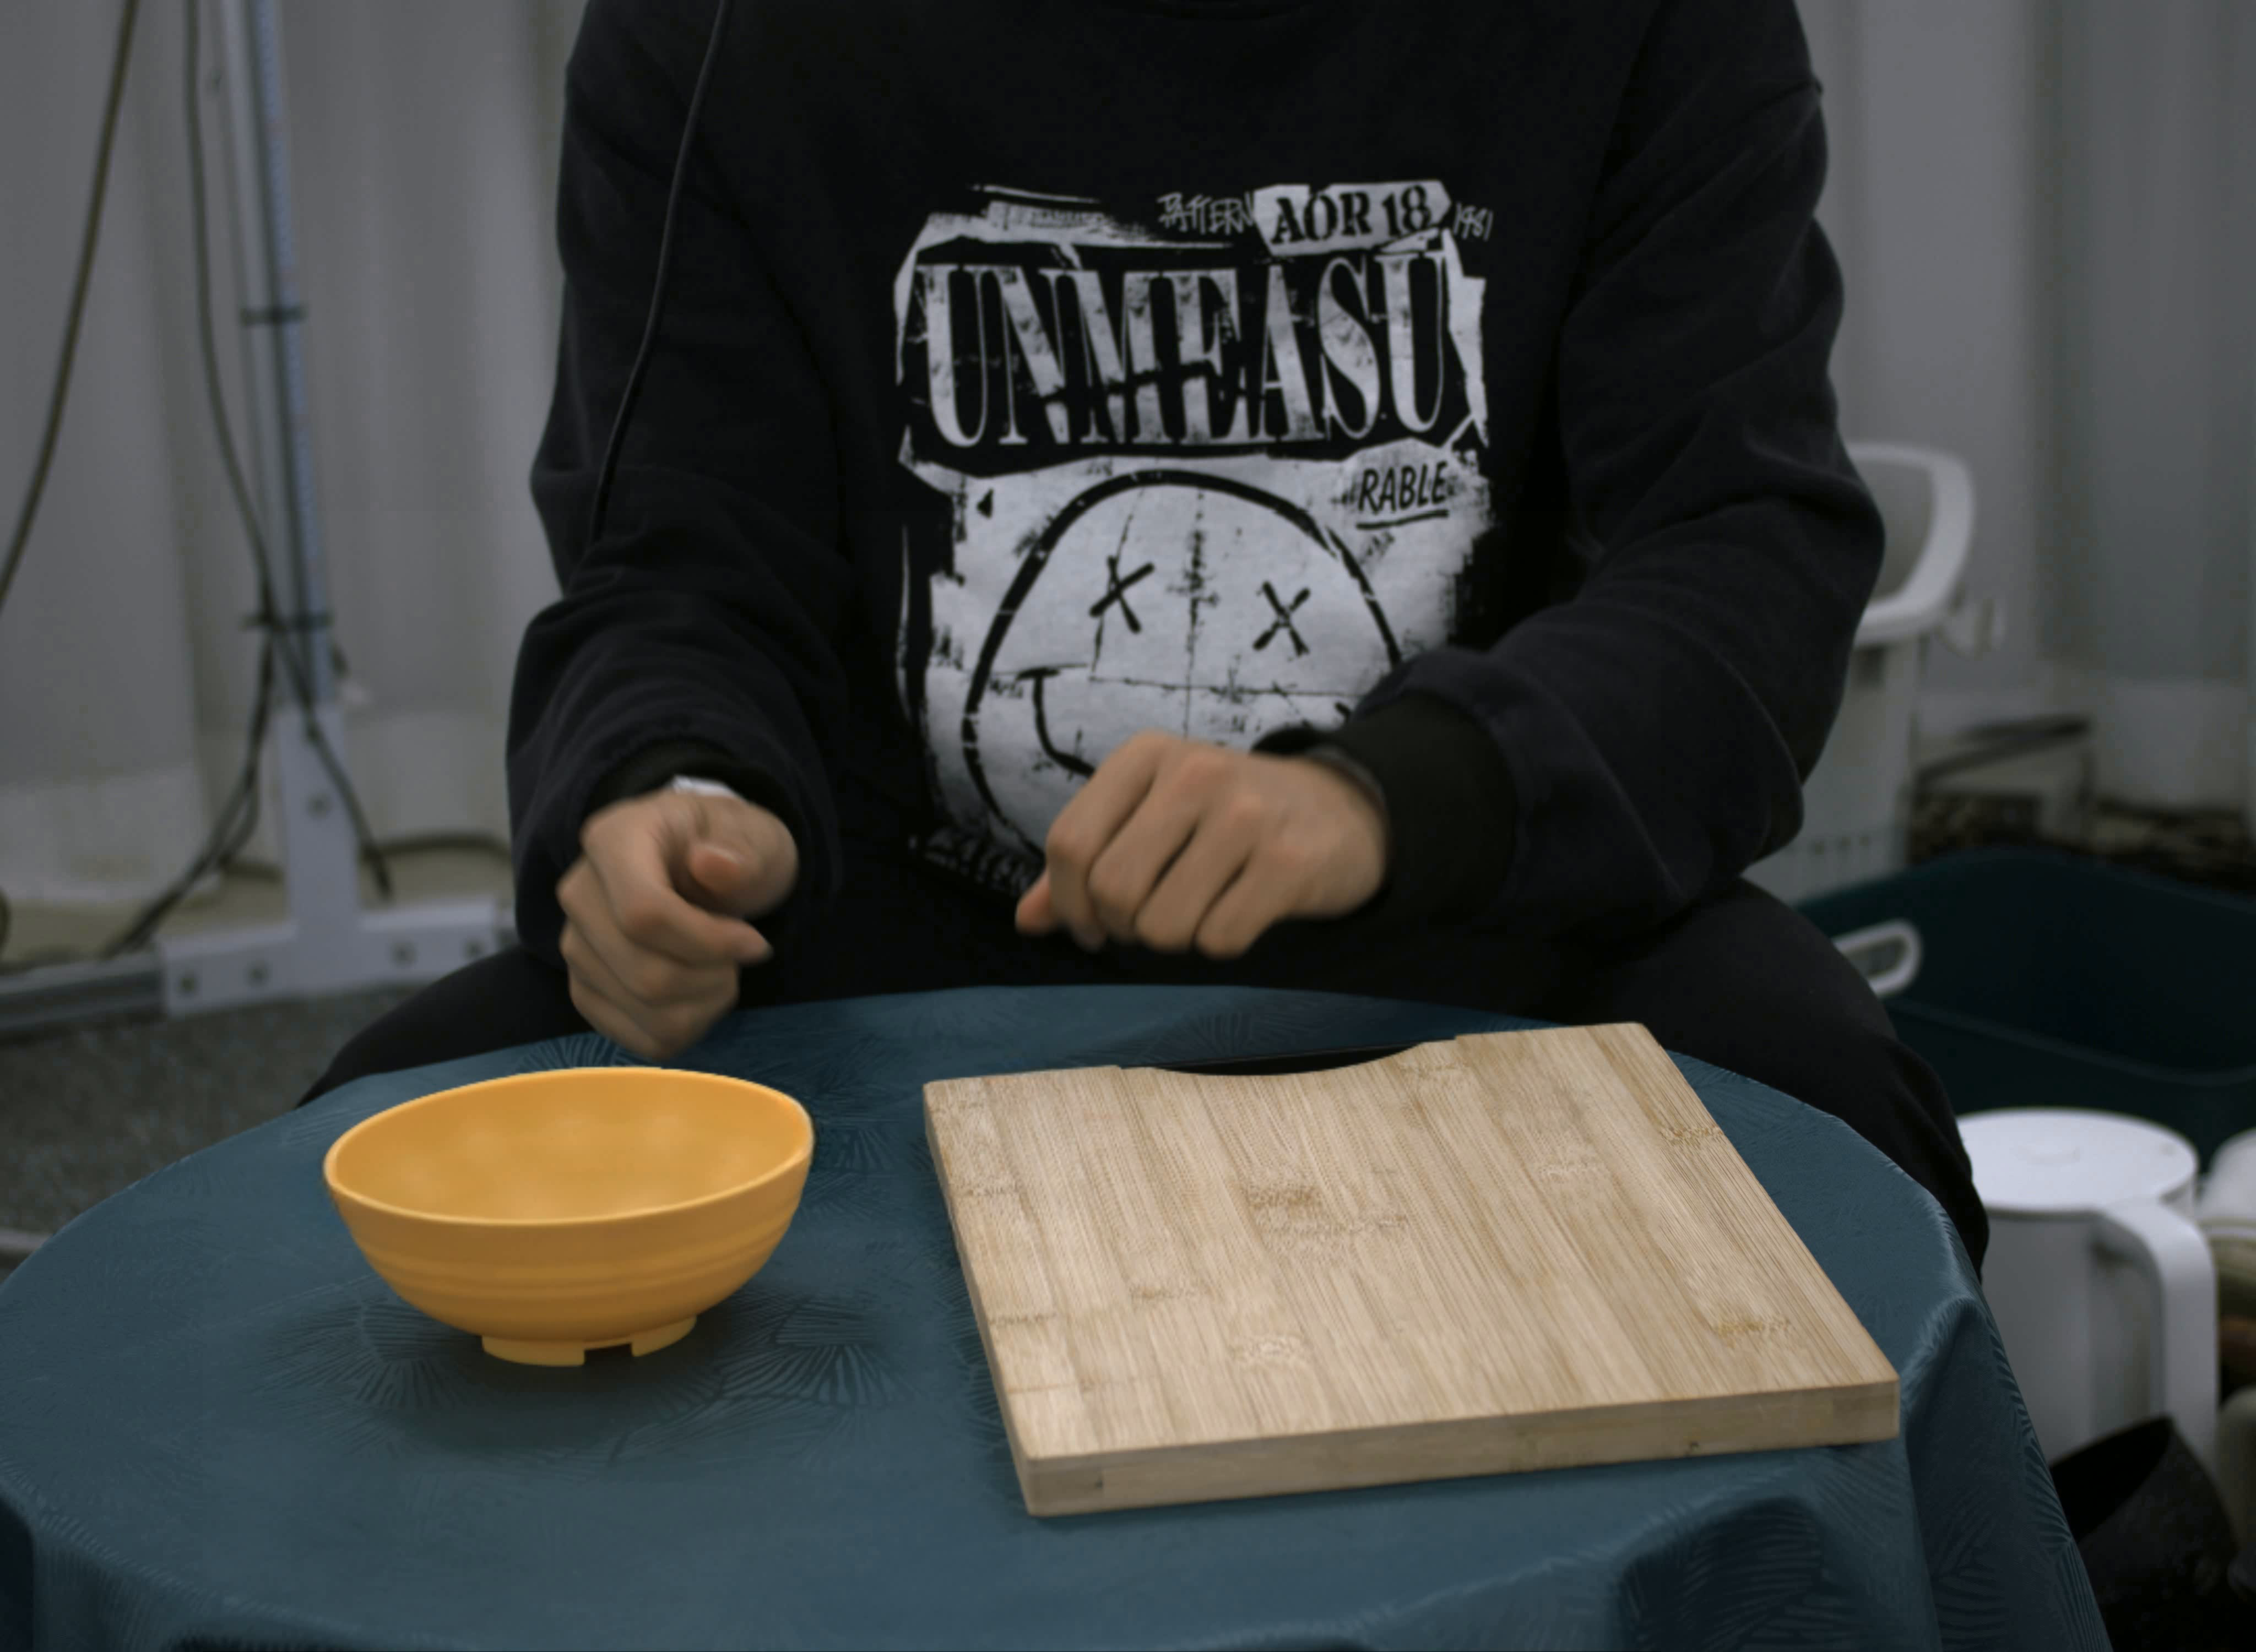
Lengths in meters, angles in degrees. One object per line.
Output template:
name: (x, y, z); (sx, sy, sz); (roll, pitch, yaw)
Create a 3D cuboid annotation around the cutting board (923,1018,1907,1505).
cutting board: (0.072, 0.124, 1.634); (0.250, 0.023, 0.351); (-4, 15, -7)

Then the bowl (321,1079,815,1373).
bowl: (-0.164, 0.122, 1.610); (0.145, 0.060, 0.146); (-1, 13, 0)
